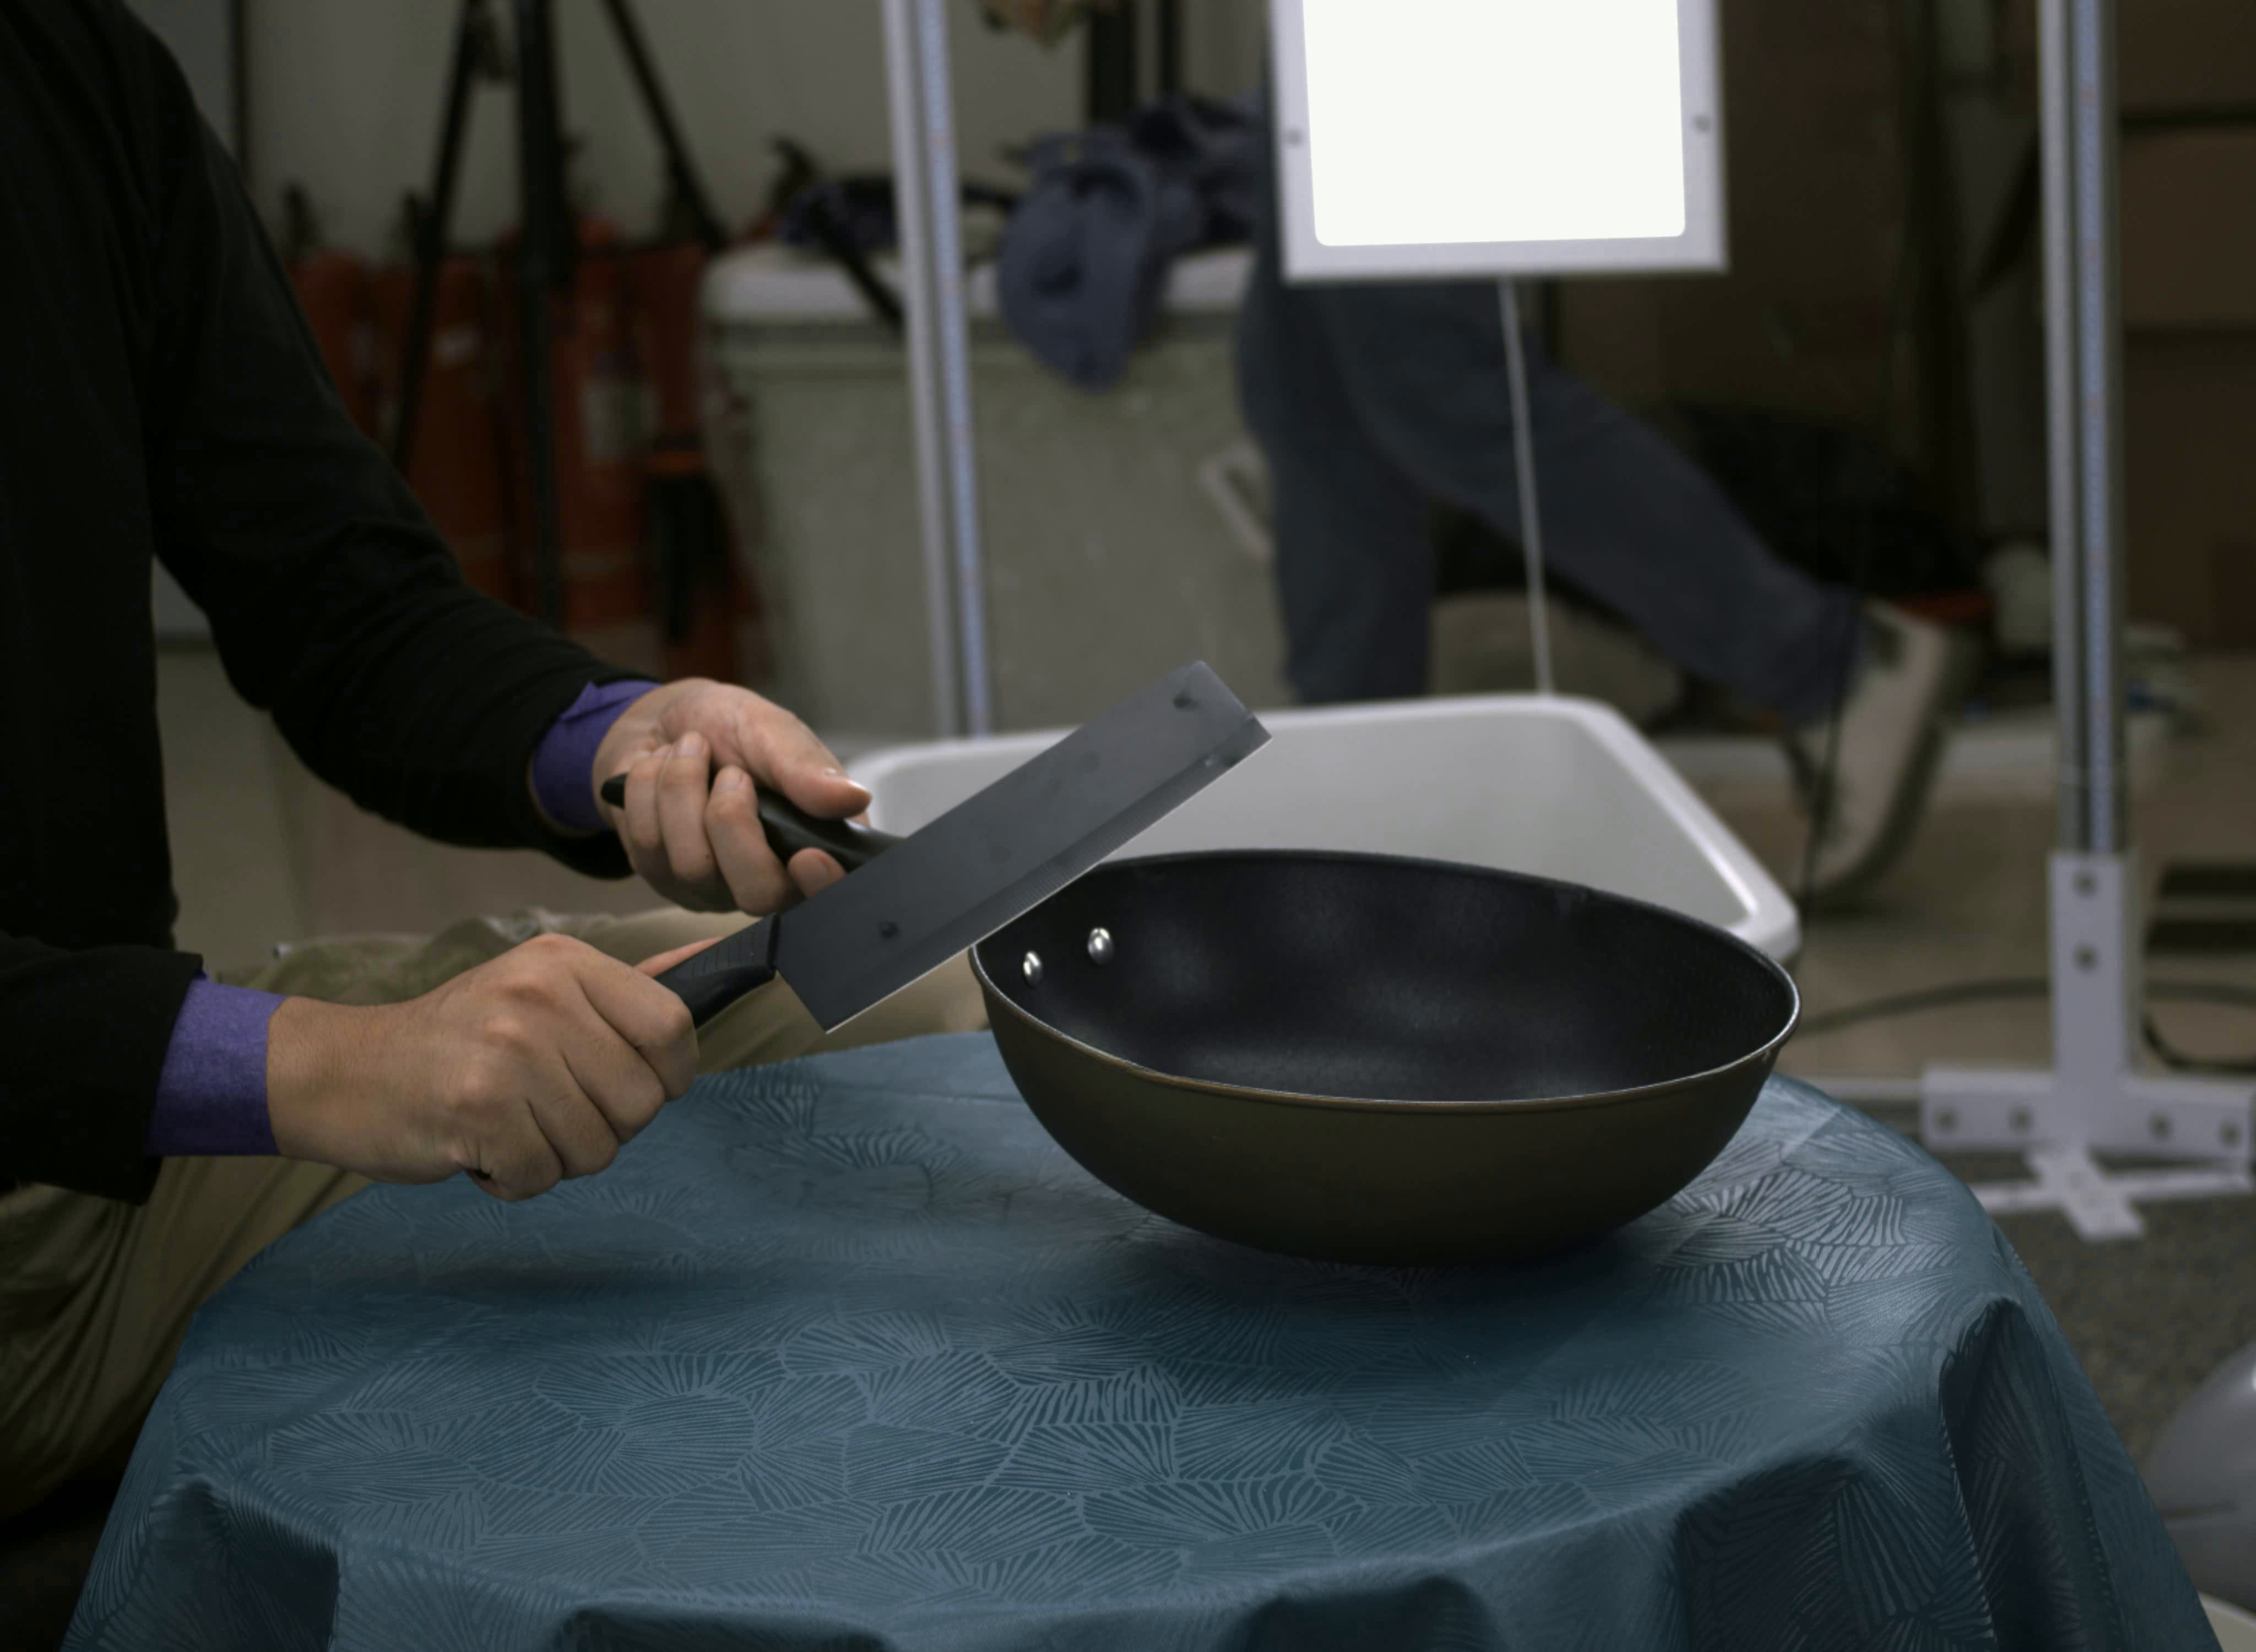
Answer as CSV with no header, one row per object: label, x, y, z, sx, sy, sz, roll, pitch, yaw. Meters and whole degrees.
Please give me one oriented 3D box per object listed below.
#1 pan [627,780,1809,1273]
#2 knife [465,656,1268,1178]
pan,0.008,0.066,1.882,0.472,0.087,0.281,13,19,33
knife,-0.090,0.033,1.848,0.302,0.021,0.081,-30,38,0
